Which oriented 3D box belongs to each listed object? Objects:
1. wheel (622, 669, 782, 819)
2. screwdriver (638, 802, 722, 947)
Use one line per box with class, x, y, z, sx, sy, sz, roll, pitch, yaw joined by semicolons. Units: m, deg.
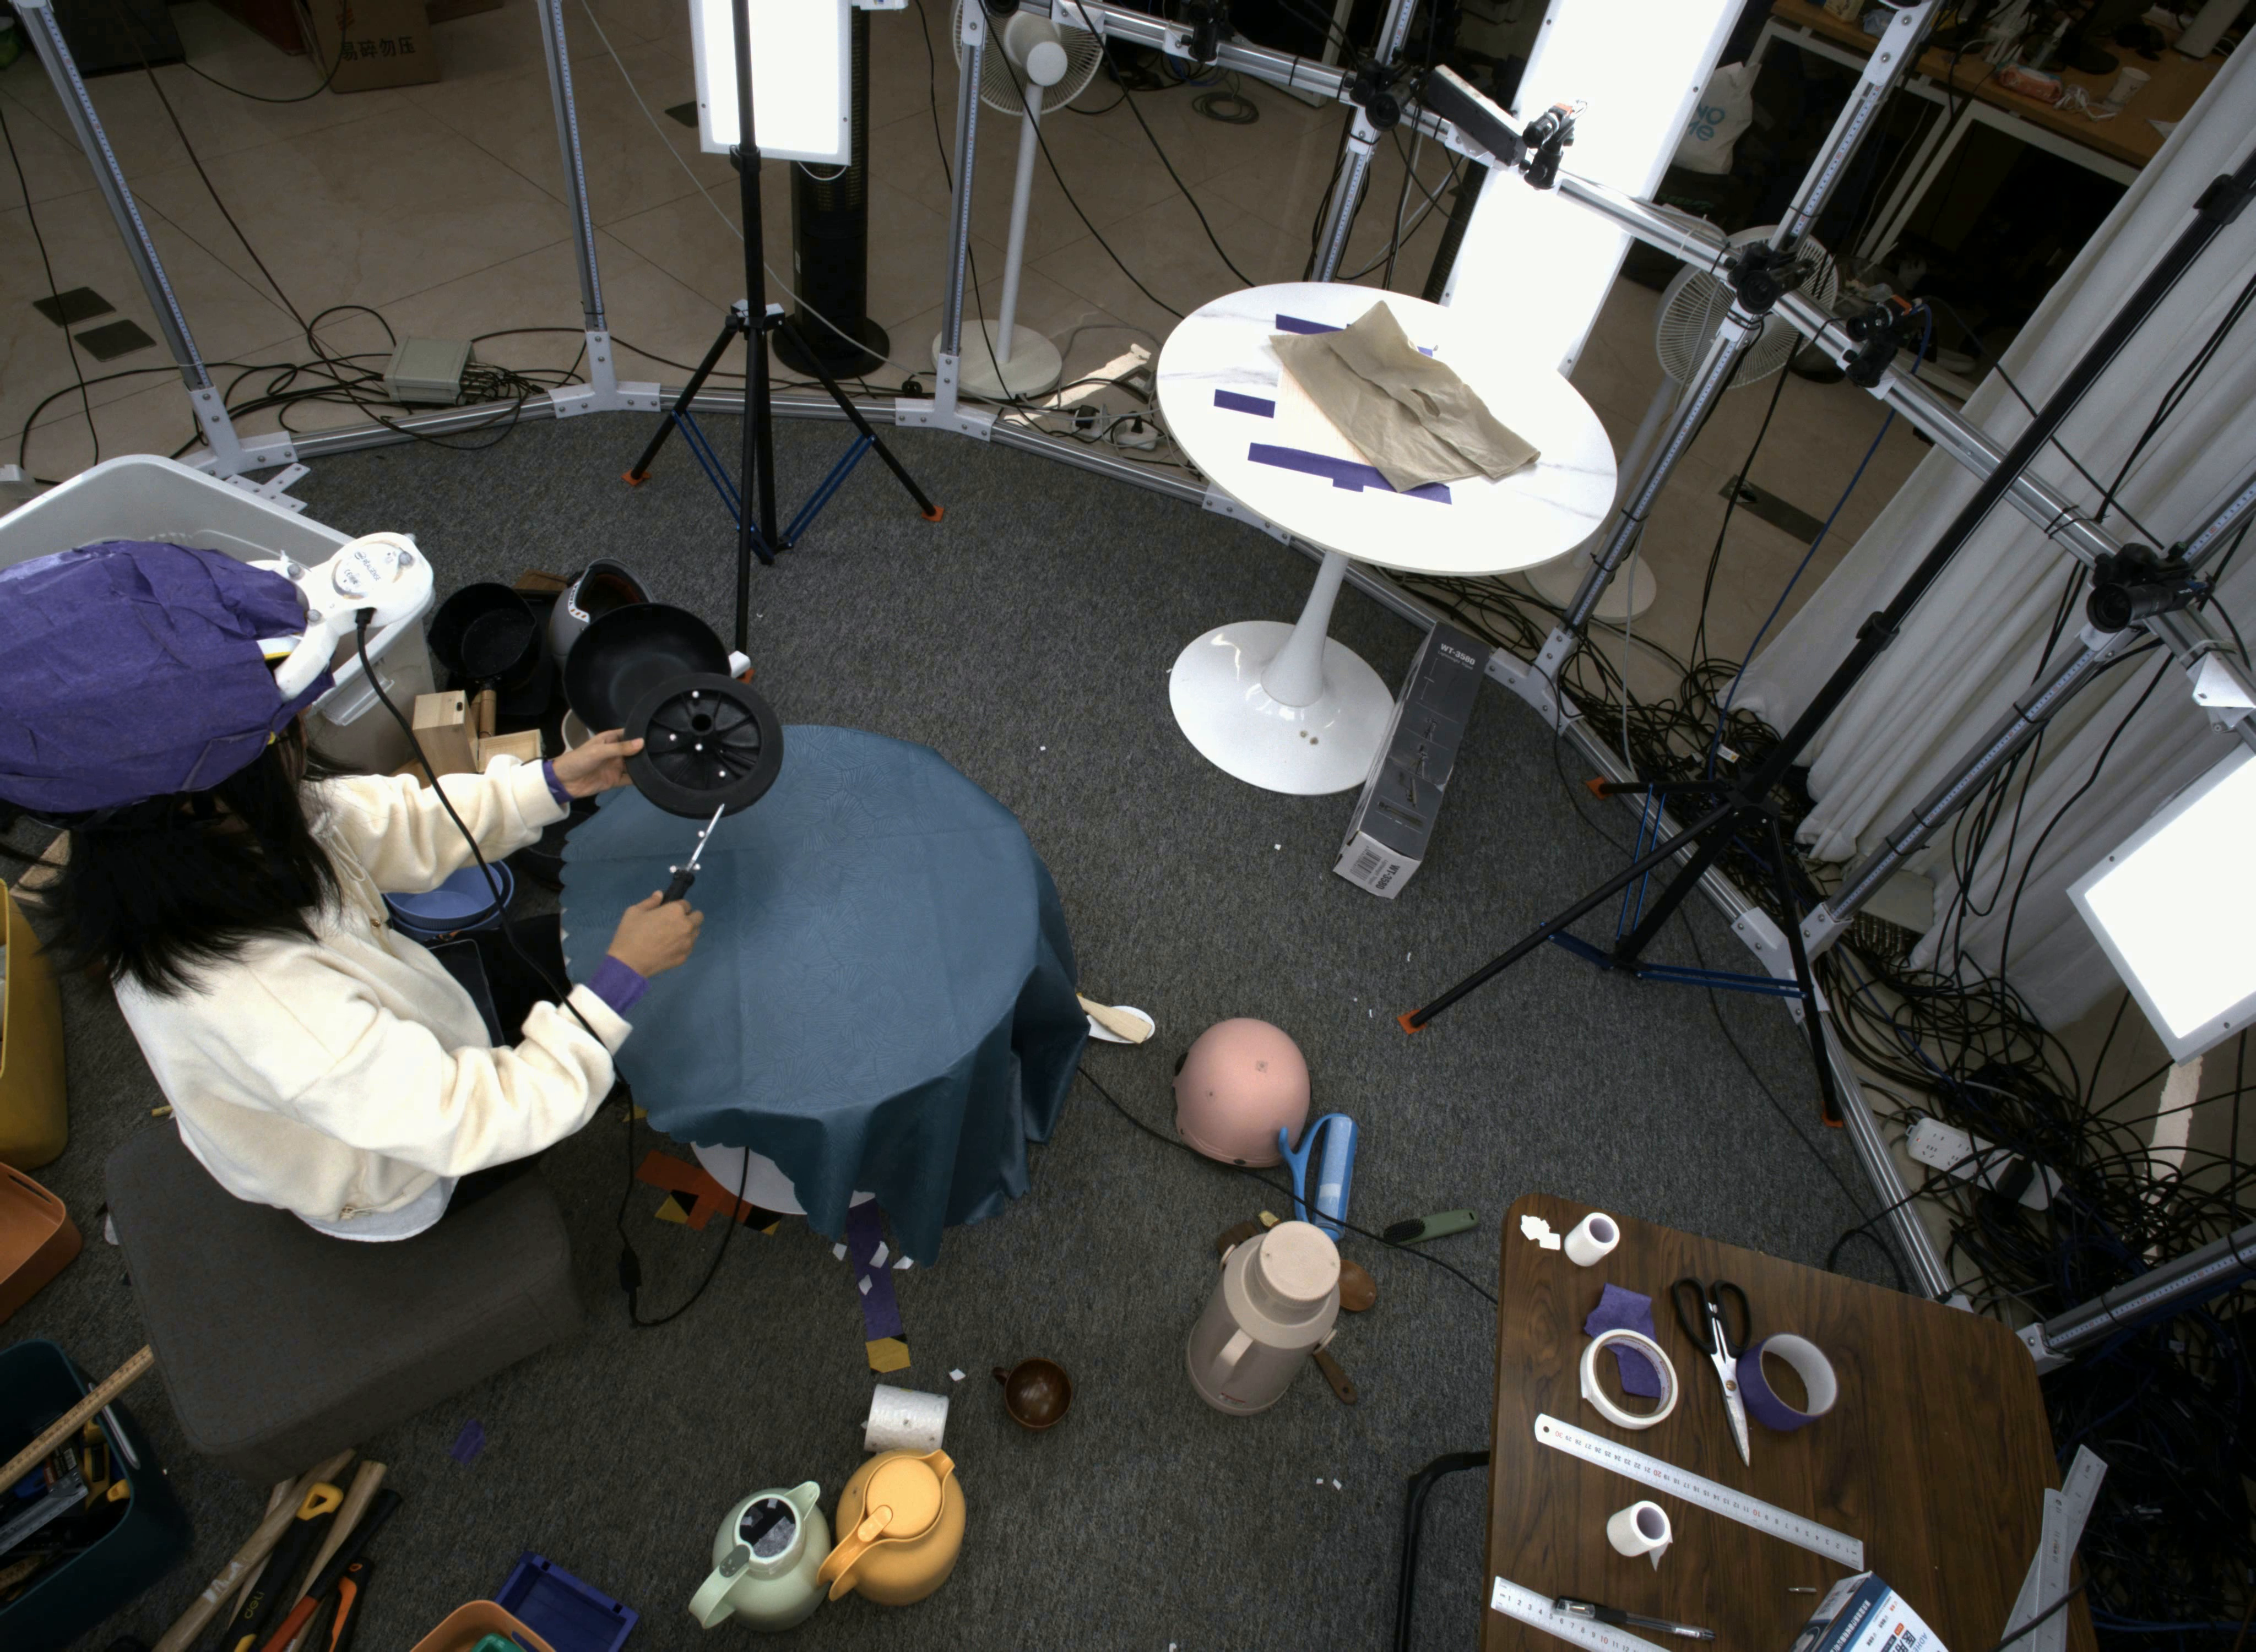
wheel;-0.506;-0.108;1.525;0.191;0.079;0.186;3;70;-18
screwdriver;-0.504;0.047;1.457;0.031;0.032;0.195;17;62;1
